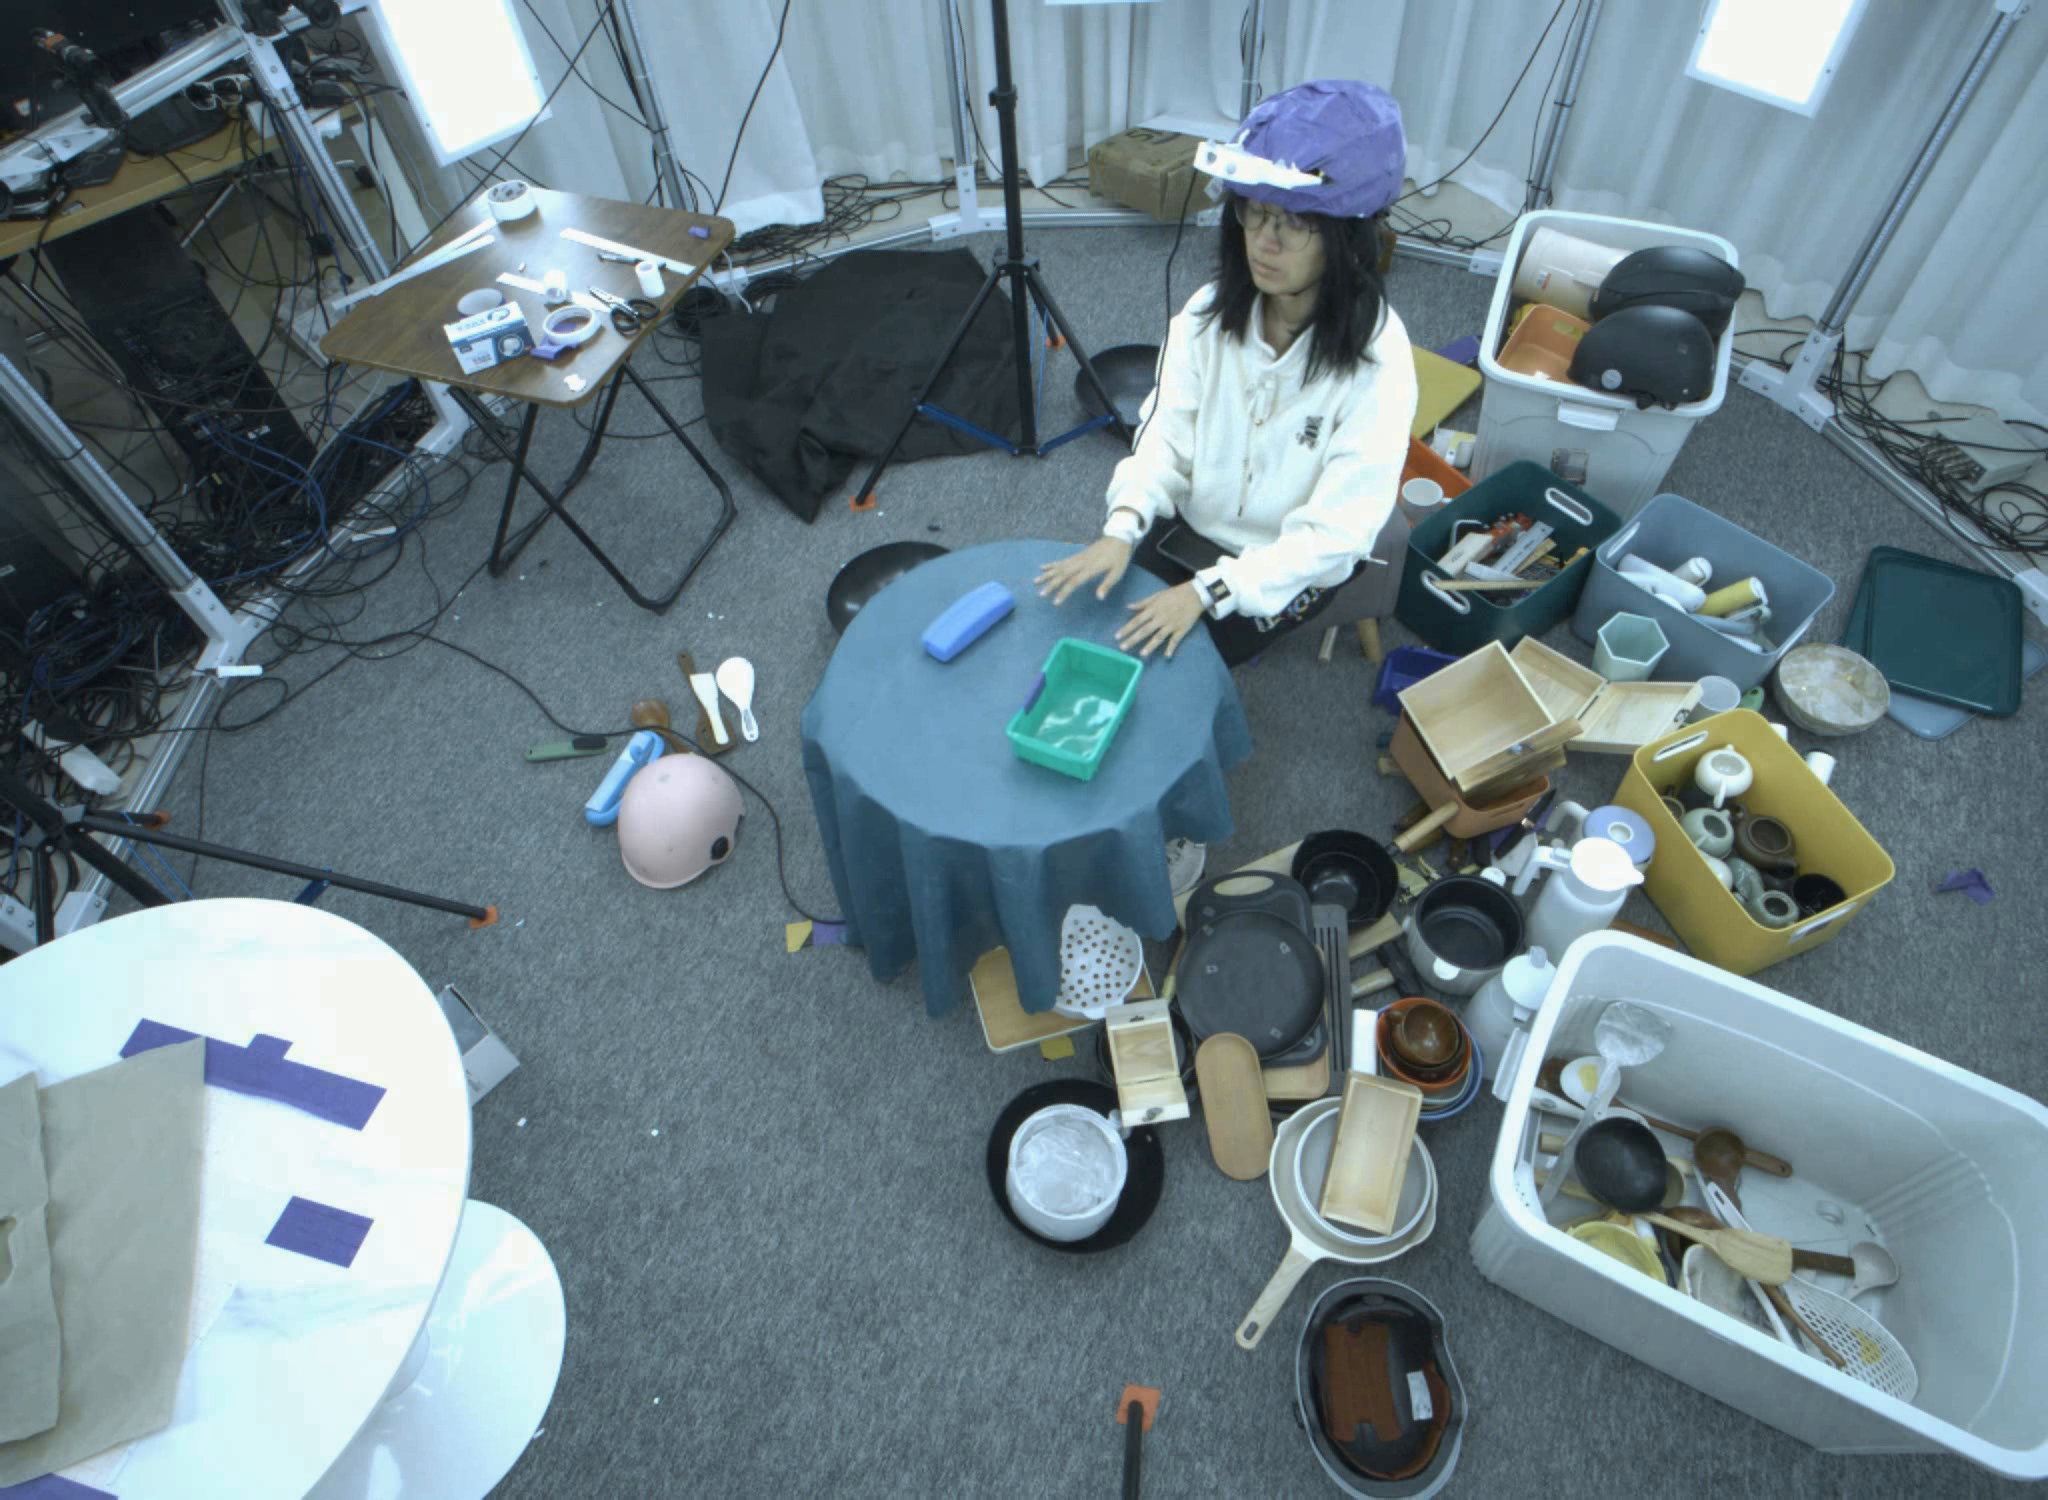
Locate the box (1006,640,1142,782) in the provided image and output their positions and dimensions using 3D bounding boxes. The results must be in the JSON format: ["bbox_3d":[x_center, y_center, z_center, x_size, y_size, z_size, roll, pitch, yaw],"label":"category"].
[{"bbox_3d":[0.076,-0.055,1.786,0.137,0.066,0.210,17,58,17],"label":"box"}]

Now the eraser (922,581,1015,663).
[{"bbox_3d":[-0.087,-0.205,1.907,0.053,0.048,0.163,37,64,25],"label":"eraser"}]
